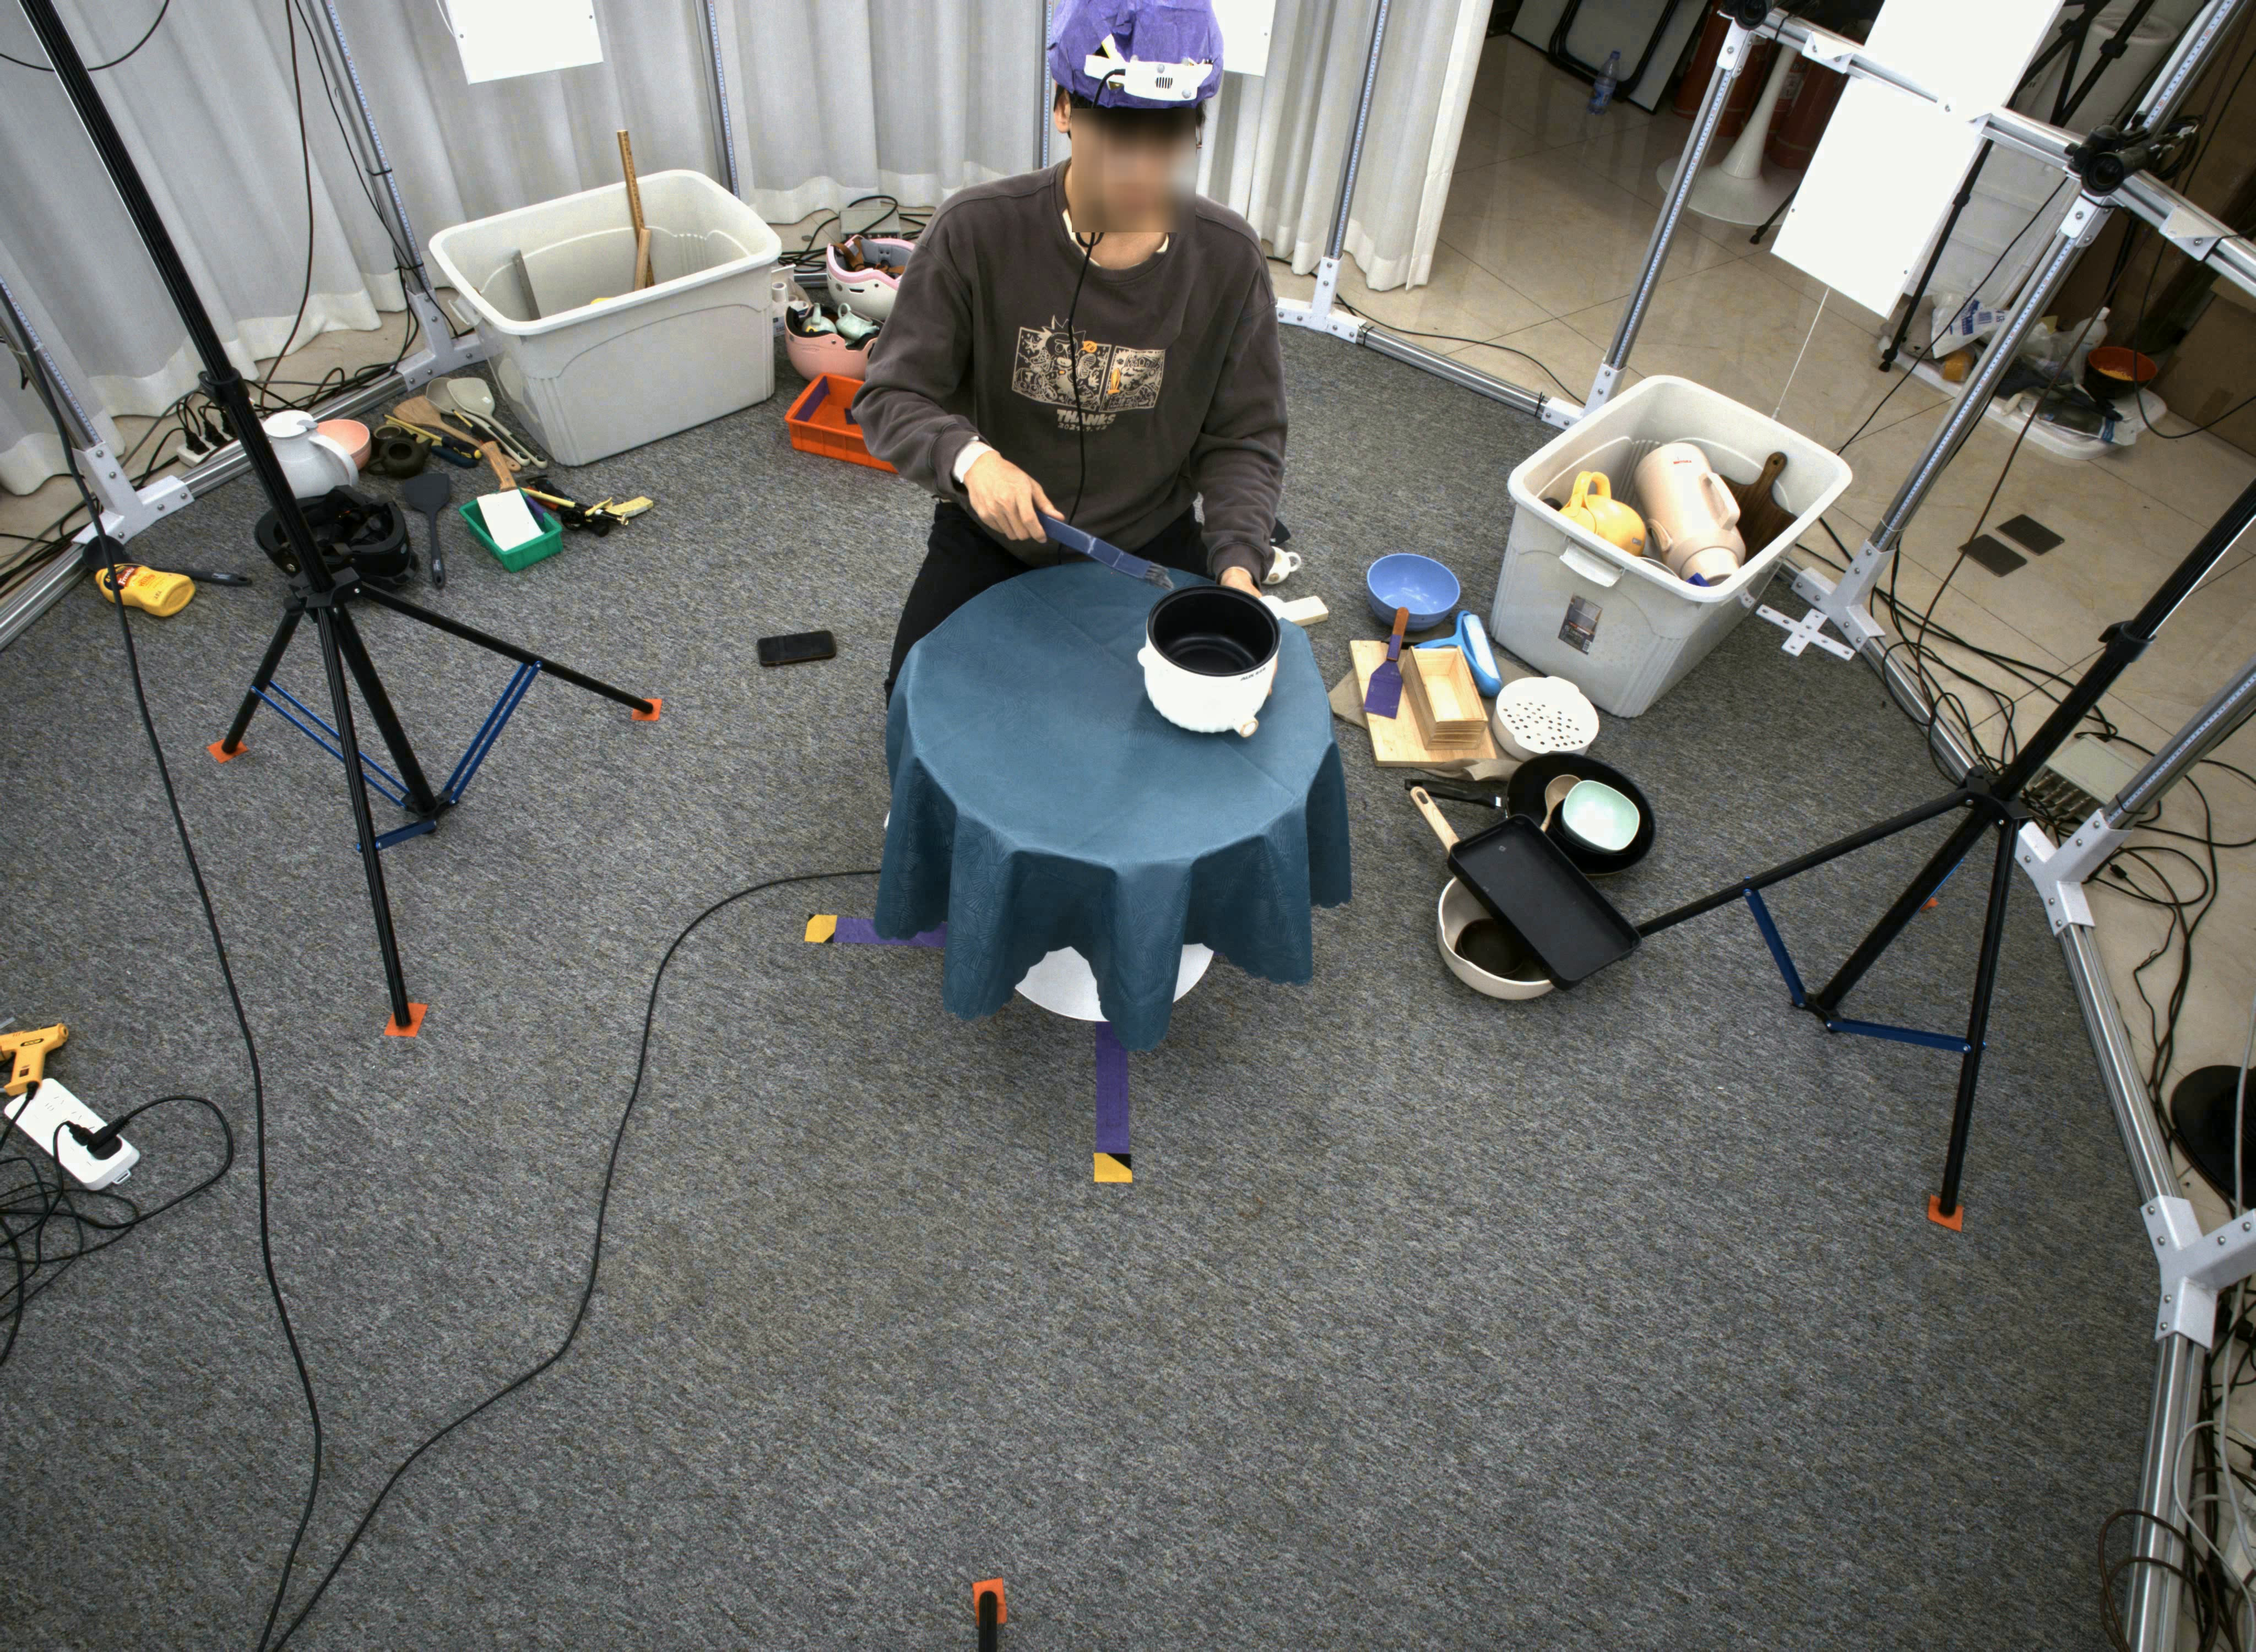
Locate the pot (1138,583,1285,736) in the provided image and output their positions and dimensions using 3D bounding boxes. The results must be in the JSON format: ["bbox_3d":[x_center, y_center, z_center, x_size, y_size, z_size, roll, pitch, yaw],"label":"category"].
[{"bbox_3d":[0.118,-0.222,1.776,0.241,0.139,0.194,-27,52,-23],"label":"pot"}]

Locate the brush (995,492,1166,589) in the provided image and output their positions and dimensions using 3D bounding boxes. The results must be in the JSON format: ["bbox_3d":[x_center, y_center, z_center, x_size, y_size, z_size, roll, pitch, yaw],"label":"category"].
[{"bbox_3d":[-0.067,-0.368,1.647,0.276,0.095,0.033,29,96,19],"label":"brush"}]
